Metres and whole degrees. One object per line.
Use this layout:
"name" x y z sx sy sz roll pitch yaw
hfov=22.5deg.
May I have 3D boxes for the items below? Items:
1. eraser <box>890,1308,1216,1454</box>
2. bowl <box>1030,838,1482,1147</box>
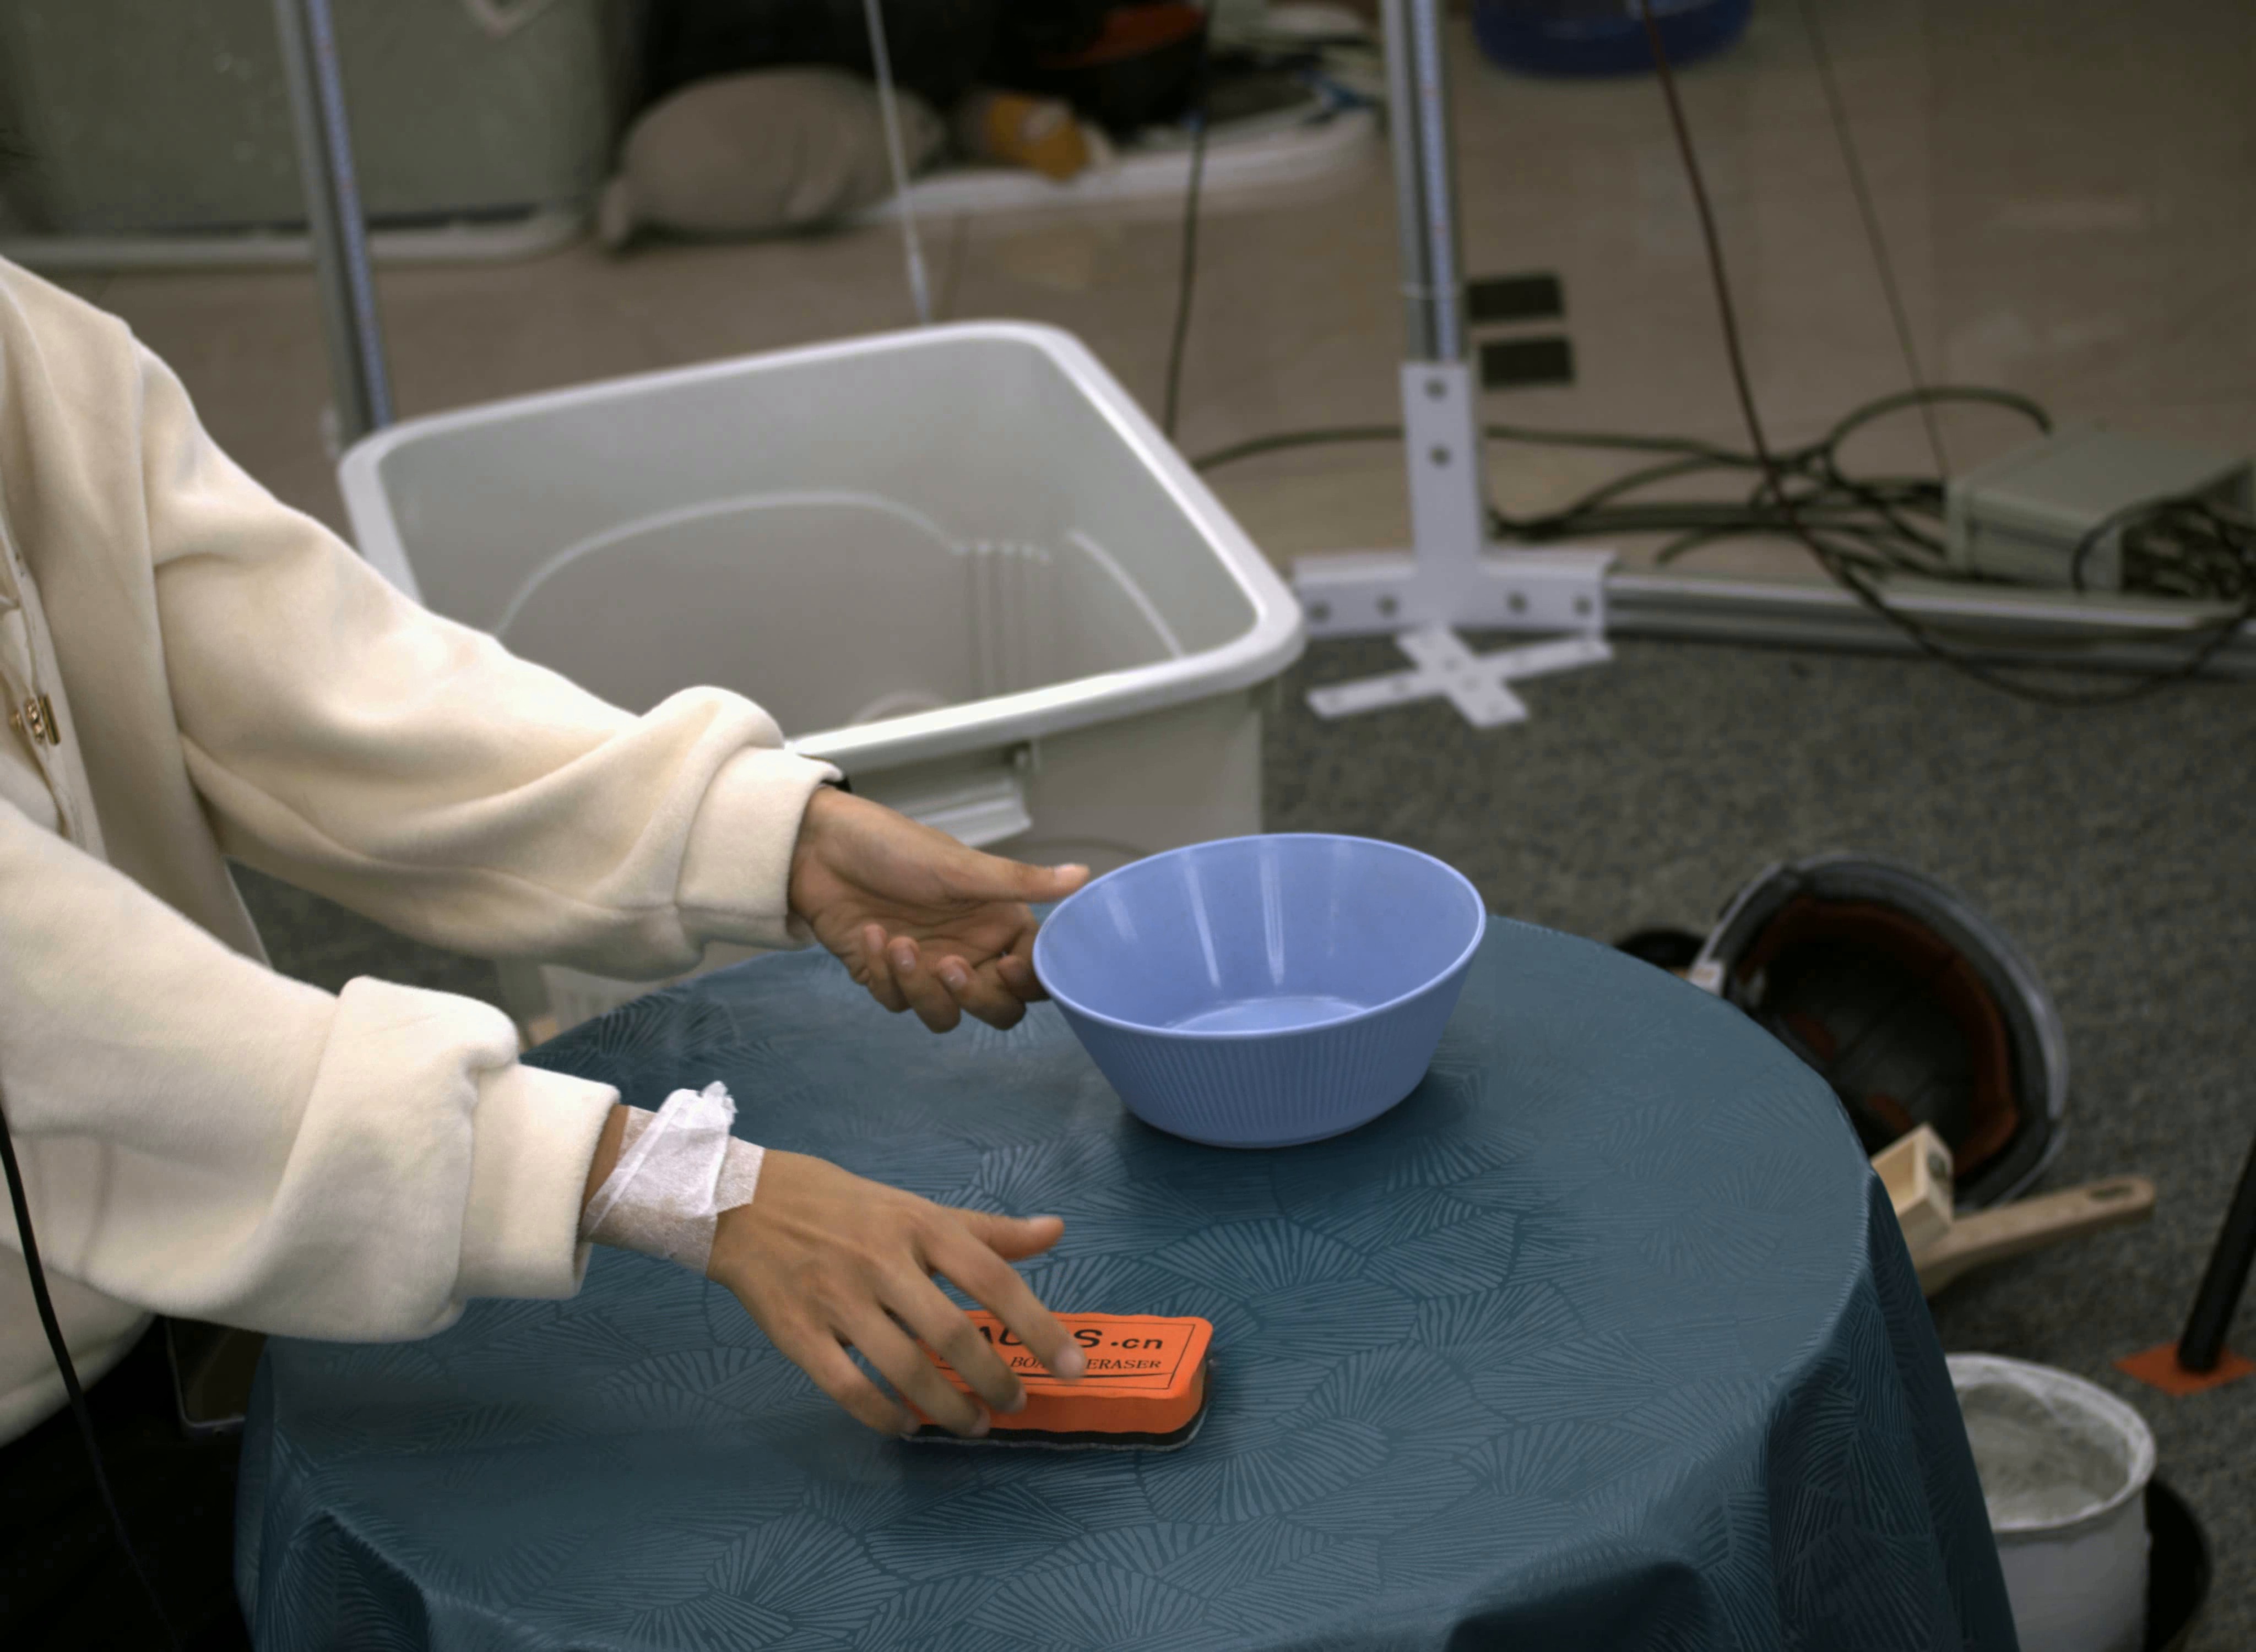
"eraser" -0.026 0.196 2.006 0.108 0.023 0.058 1 28 16
"bowl" 0.052 0.070 2.198 0.176 0.071 0.173 -5 25 2
